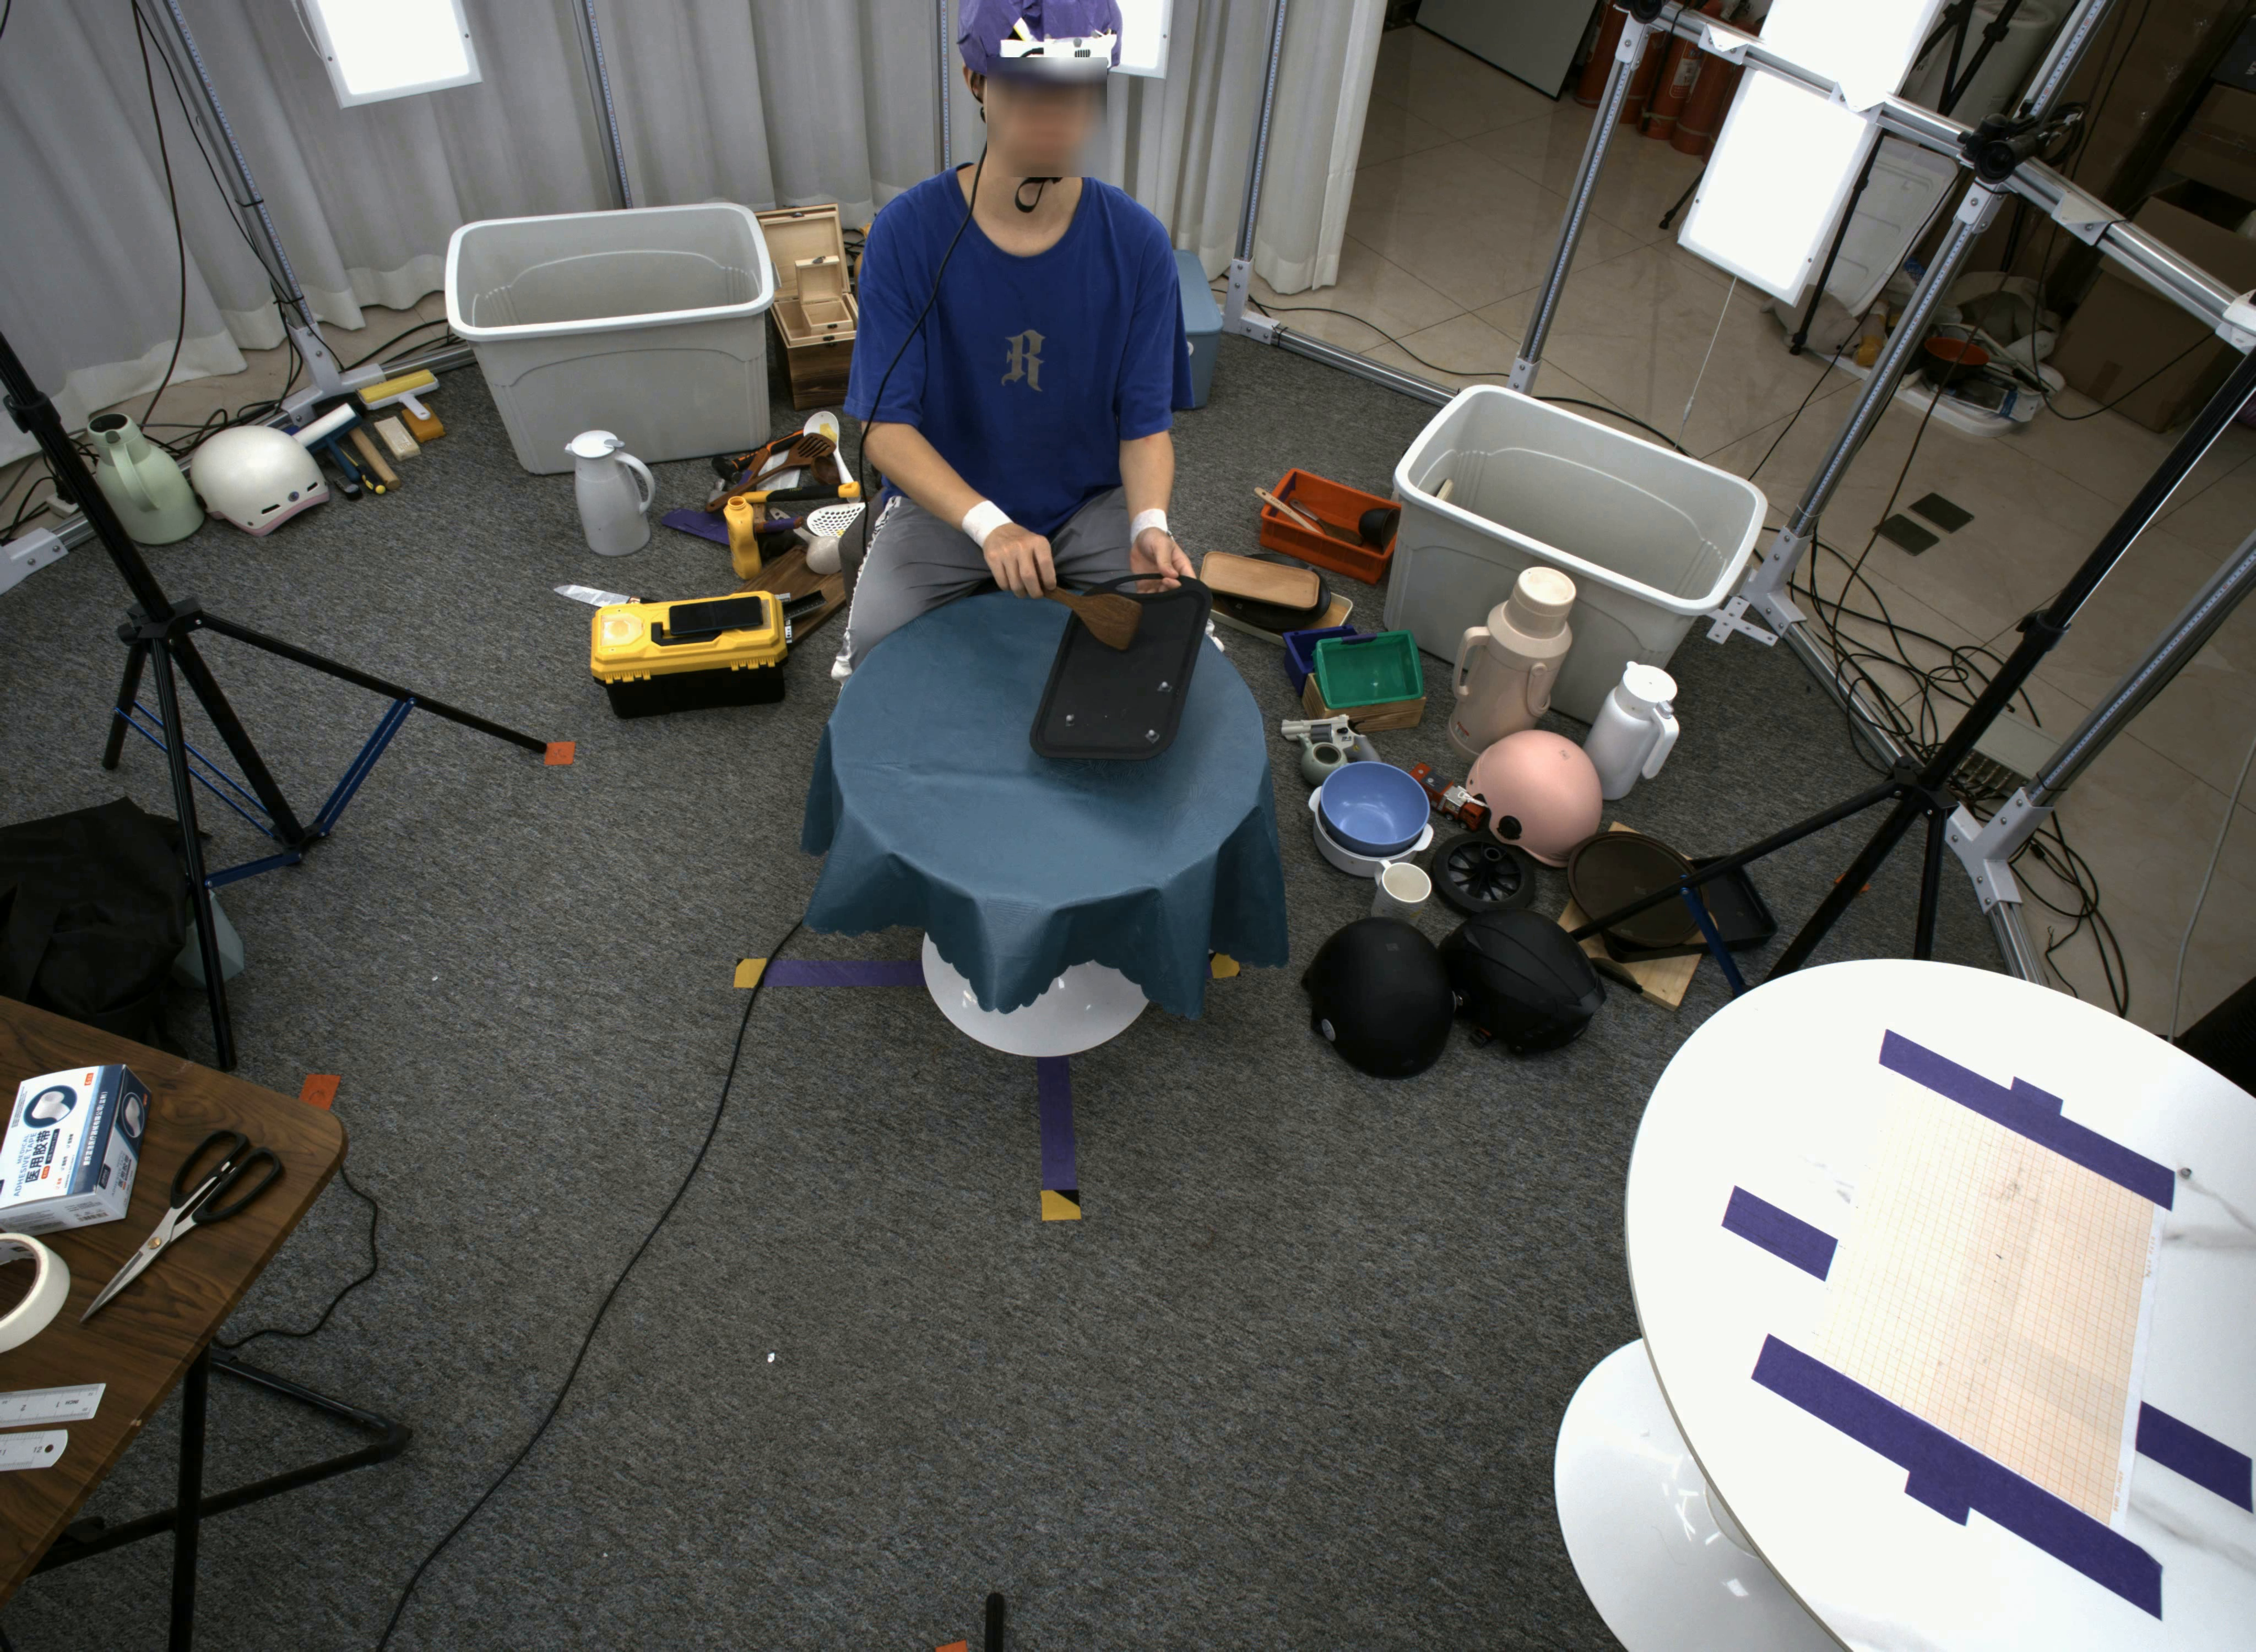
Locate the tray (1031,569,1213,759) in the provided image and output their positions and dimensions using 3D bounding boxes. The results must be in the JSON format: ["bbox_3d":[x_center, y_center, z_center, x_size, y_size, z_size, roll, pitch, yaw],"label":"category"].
[{"bbox_3d":[-0.006,-0.228,1.748,0.212,0.009,0.332,3,58,24],"label":"tray"}]

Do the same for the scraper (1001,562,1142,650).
[{"bbox_3d":[-0.081,-0.310,1.759,0.212,0.074,0.011,26,30,14],"label":"scraper"}]
